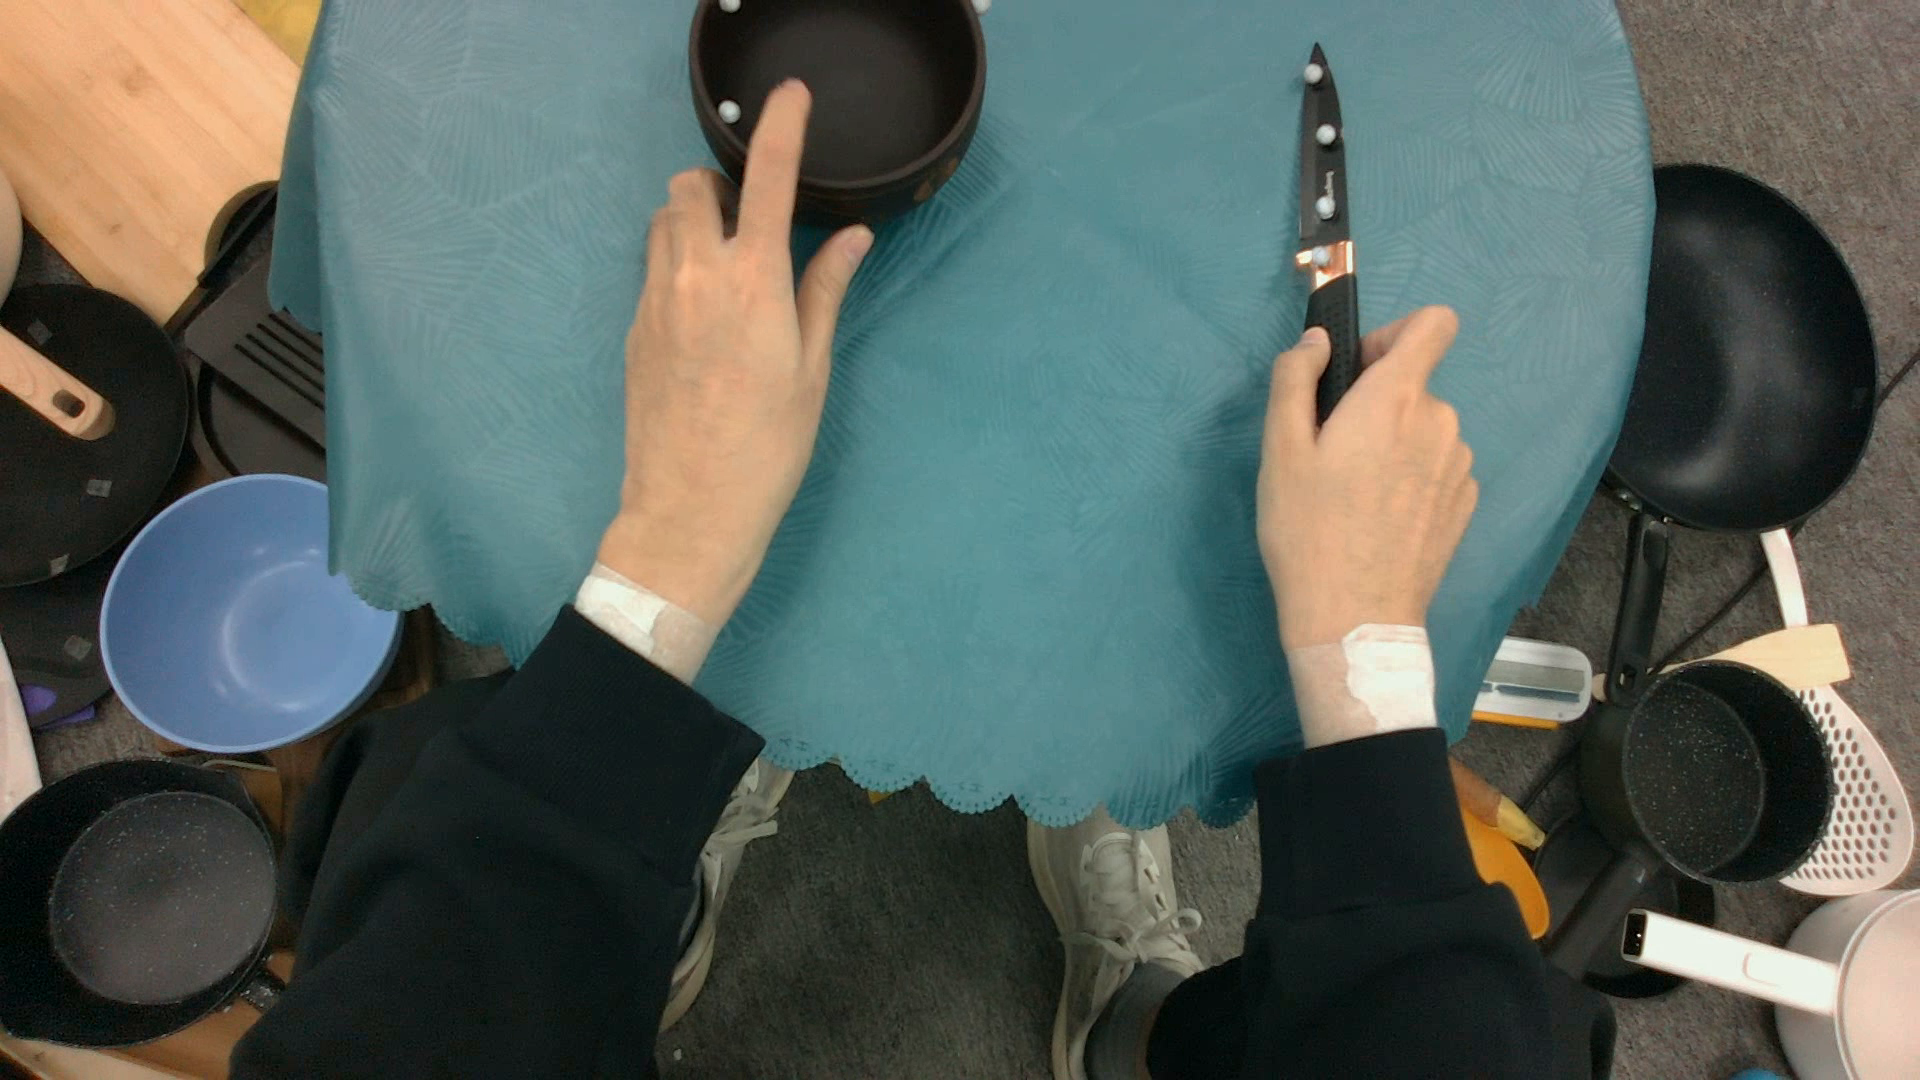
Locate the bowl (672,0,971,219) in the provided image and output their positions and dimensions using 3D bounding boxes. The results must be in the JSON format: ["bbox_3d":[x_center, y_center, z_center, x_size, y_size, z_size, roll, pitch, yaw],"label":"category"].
[{"bbox_3d":[-0.057,-0.187,0.567,0.118,0.069,0.118,1,79,-6],"label":"bowl"}]

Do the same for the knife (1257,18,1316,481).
[{"bbox_3d":[0.141,-0.132,0.600,0.026,0.017,0.226,15,67,-31],"label":"knife"}]
